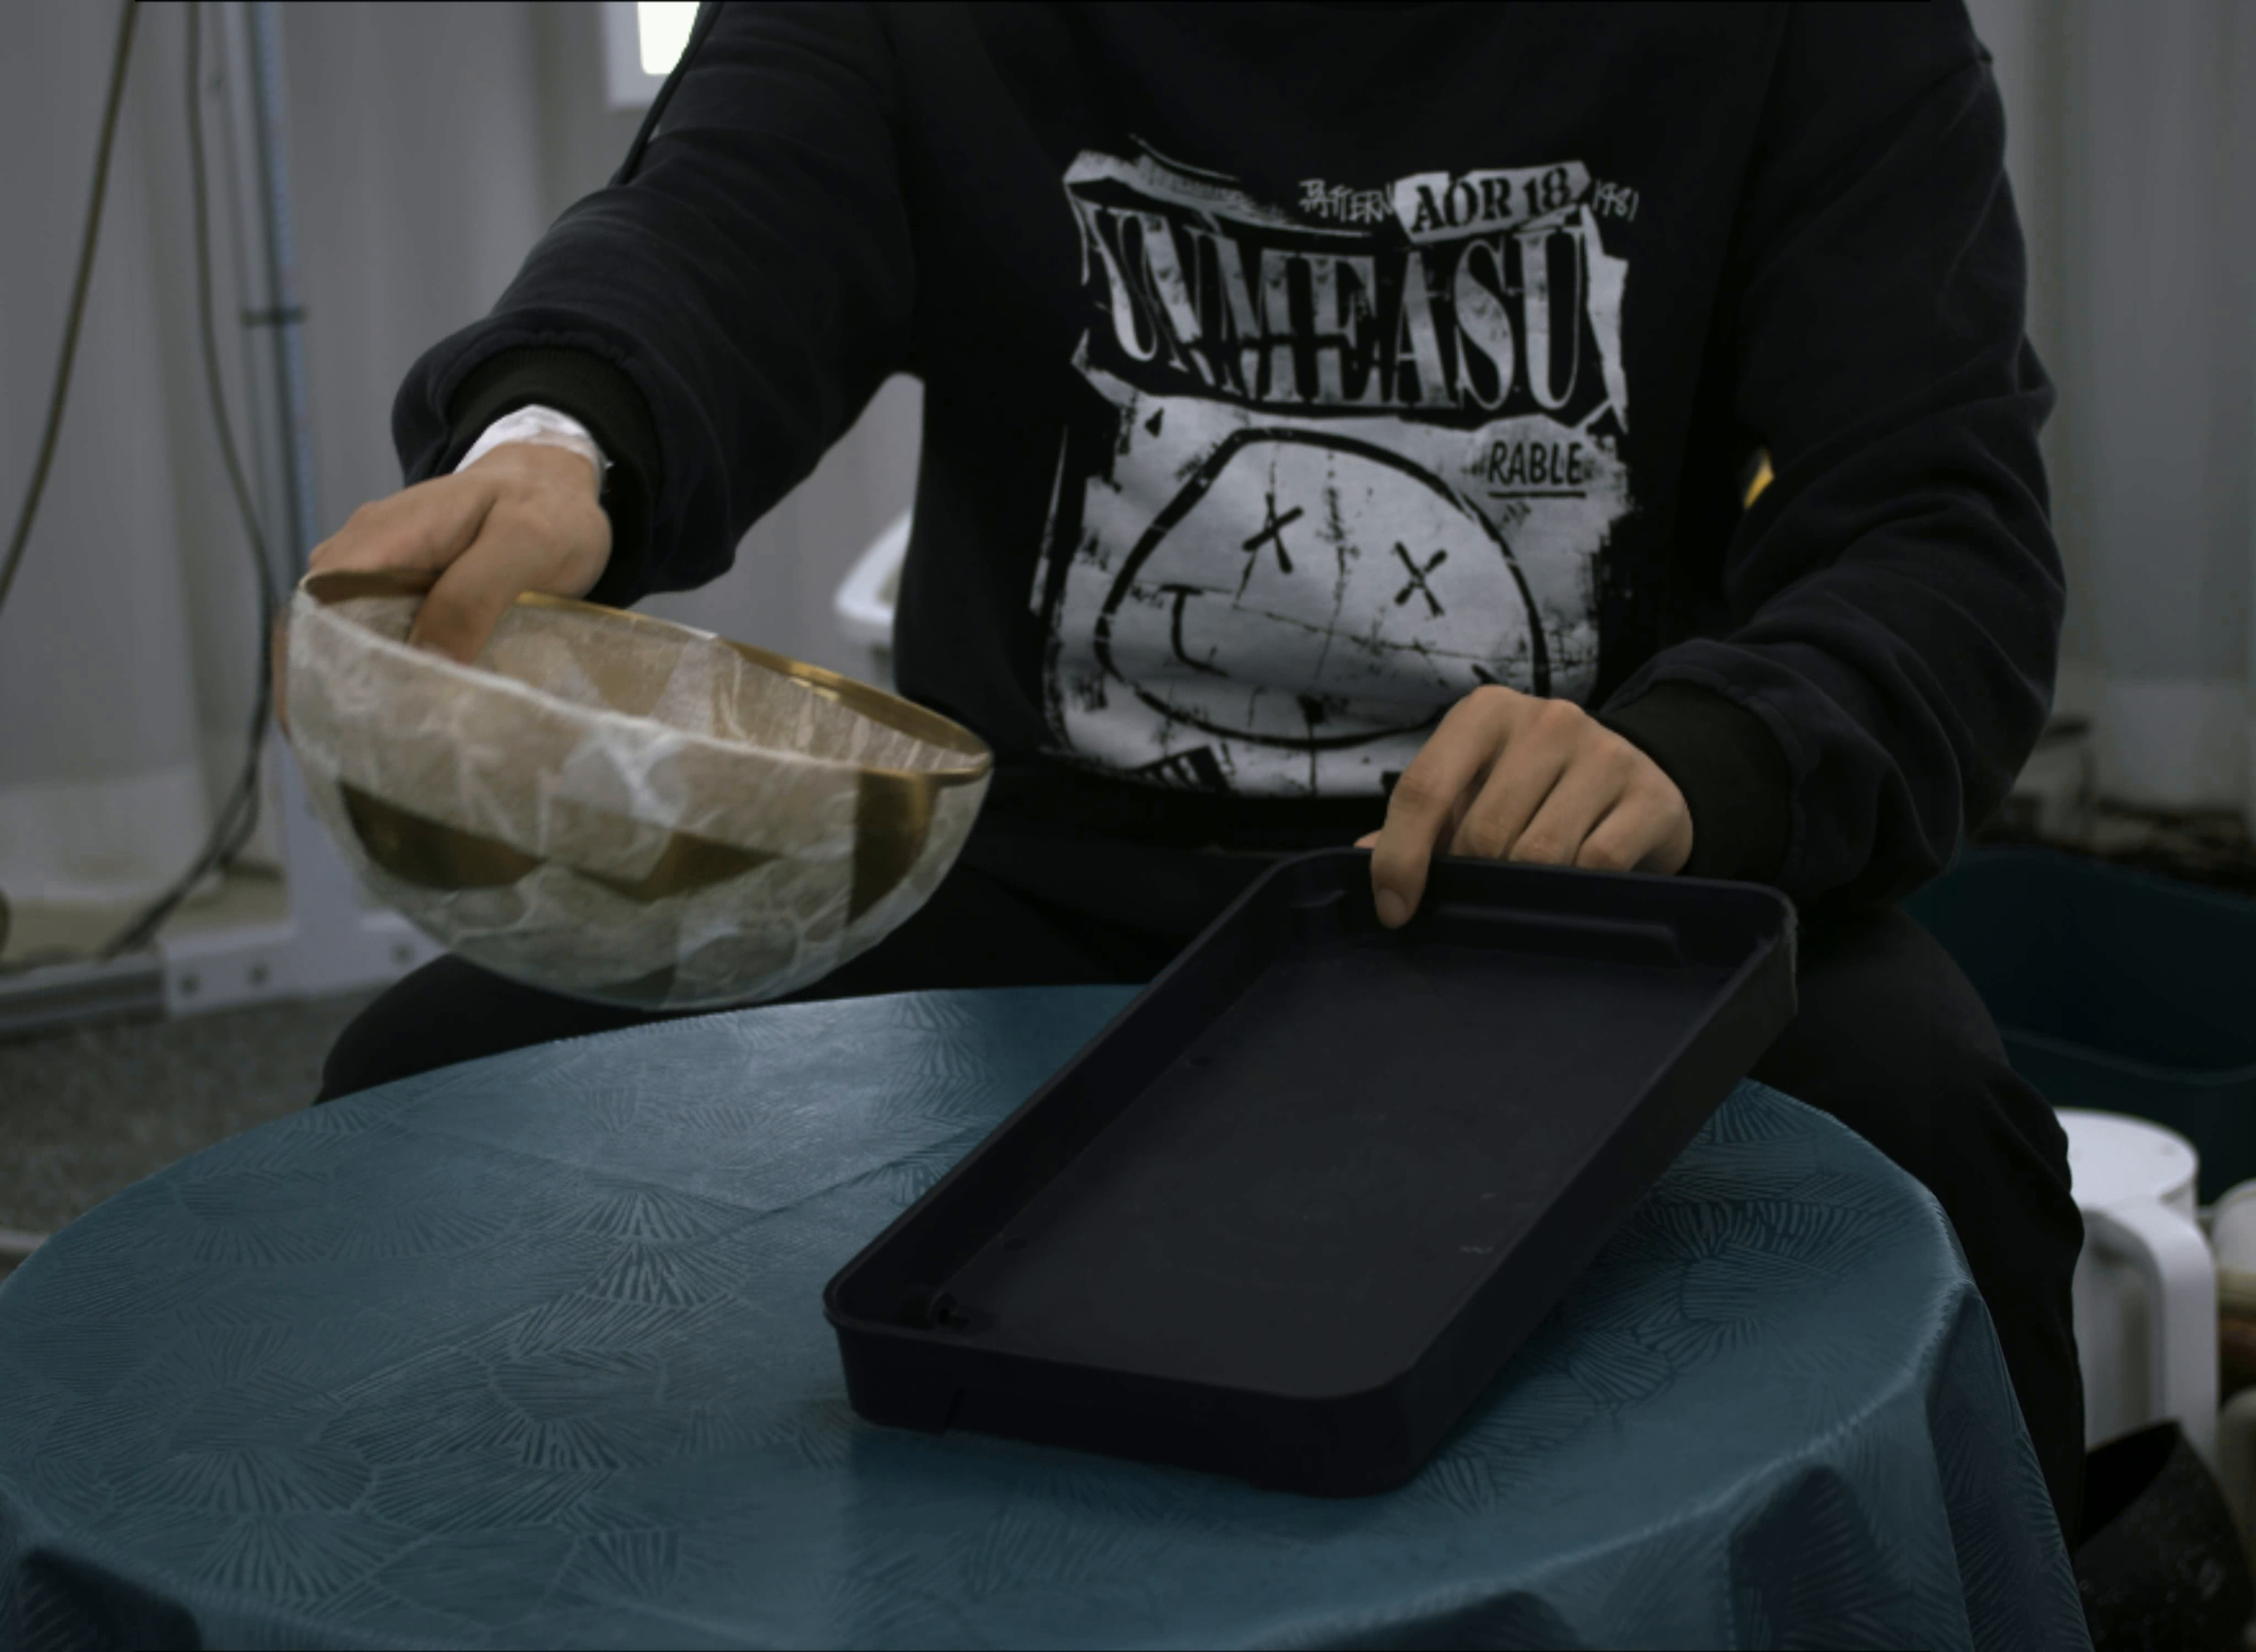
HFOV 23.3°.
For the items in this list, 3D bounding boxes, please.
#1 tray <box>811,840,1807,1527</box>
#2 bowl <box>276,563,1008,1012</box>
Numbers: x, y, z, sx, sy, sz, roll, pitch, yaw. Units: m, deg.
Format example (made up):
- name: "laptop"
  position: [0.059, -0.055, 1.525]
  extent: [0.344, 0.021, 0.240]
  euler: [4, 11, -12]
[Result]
- name: "tray"
  position: [0.061, 0.096, 1.609]
  extent: [0.185, 0.037, 0.319]
  euler: [7, 30, 30]
- name: "bowl"
  position: [-0.142, -0.001, 1.530]
  extent: [0.214, 0.094, 0.215]
  euler: [13, 9, -2]
